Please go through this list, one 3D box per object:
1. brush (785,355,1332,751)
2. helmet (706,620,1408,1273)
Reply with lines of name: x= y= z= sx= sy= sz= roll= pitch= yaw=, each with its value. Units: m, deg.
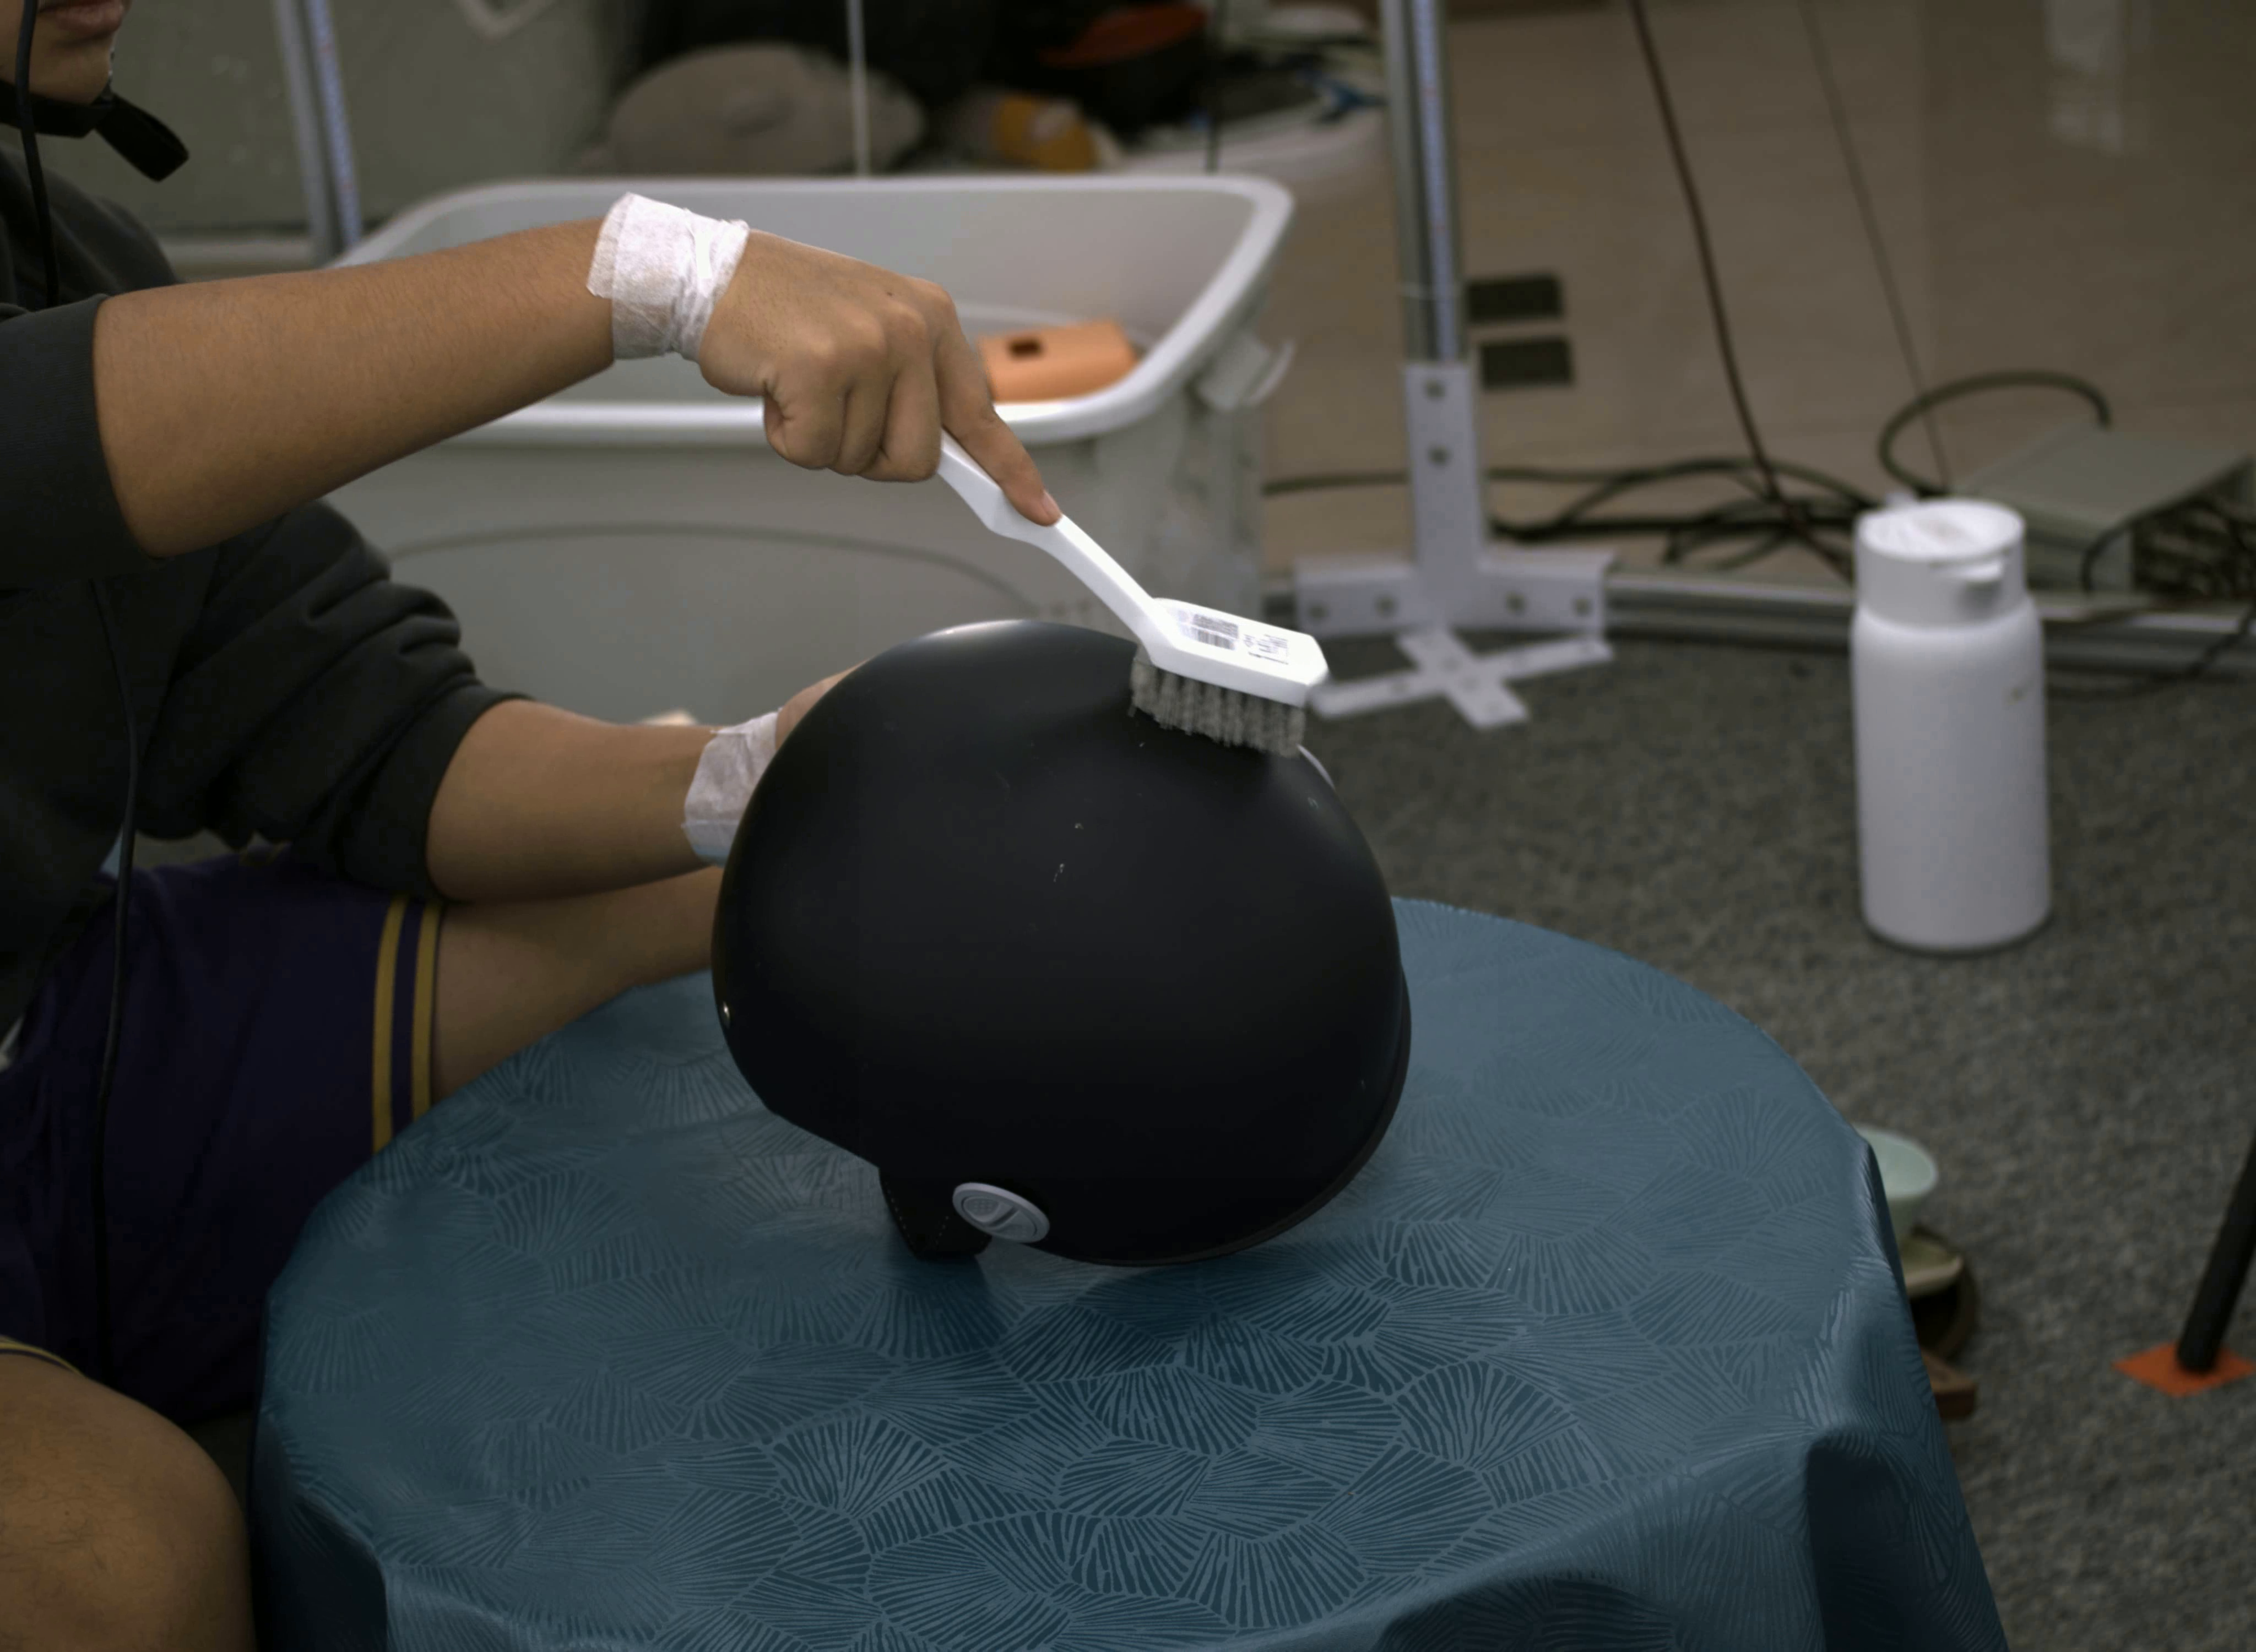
brush: x=-0.030 y=-0.094 z=2.017 sx=0.245 sy=0.051 sz=0.034 roll=28 pitch=31 yaw=-23
helmet: x=-0.028 y=0.027 z=2.091 sx=0.271 sy=0.169 sz=0.227 roll=28 pitch=65 yaw=18
